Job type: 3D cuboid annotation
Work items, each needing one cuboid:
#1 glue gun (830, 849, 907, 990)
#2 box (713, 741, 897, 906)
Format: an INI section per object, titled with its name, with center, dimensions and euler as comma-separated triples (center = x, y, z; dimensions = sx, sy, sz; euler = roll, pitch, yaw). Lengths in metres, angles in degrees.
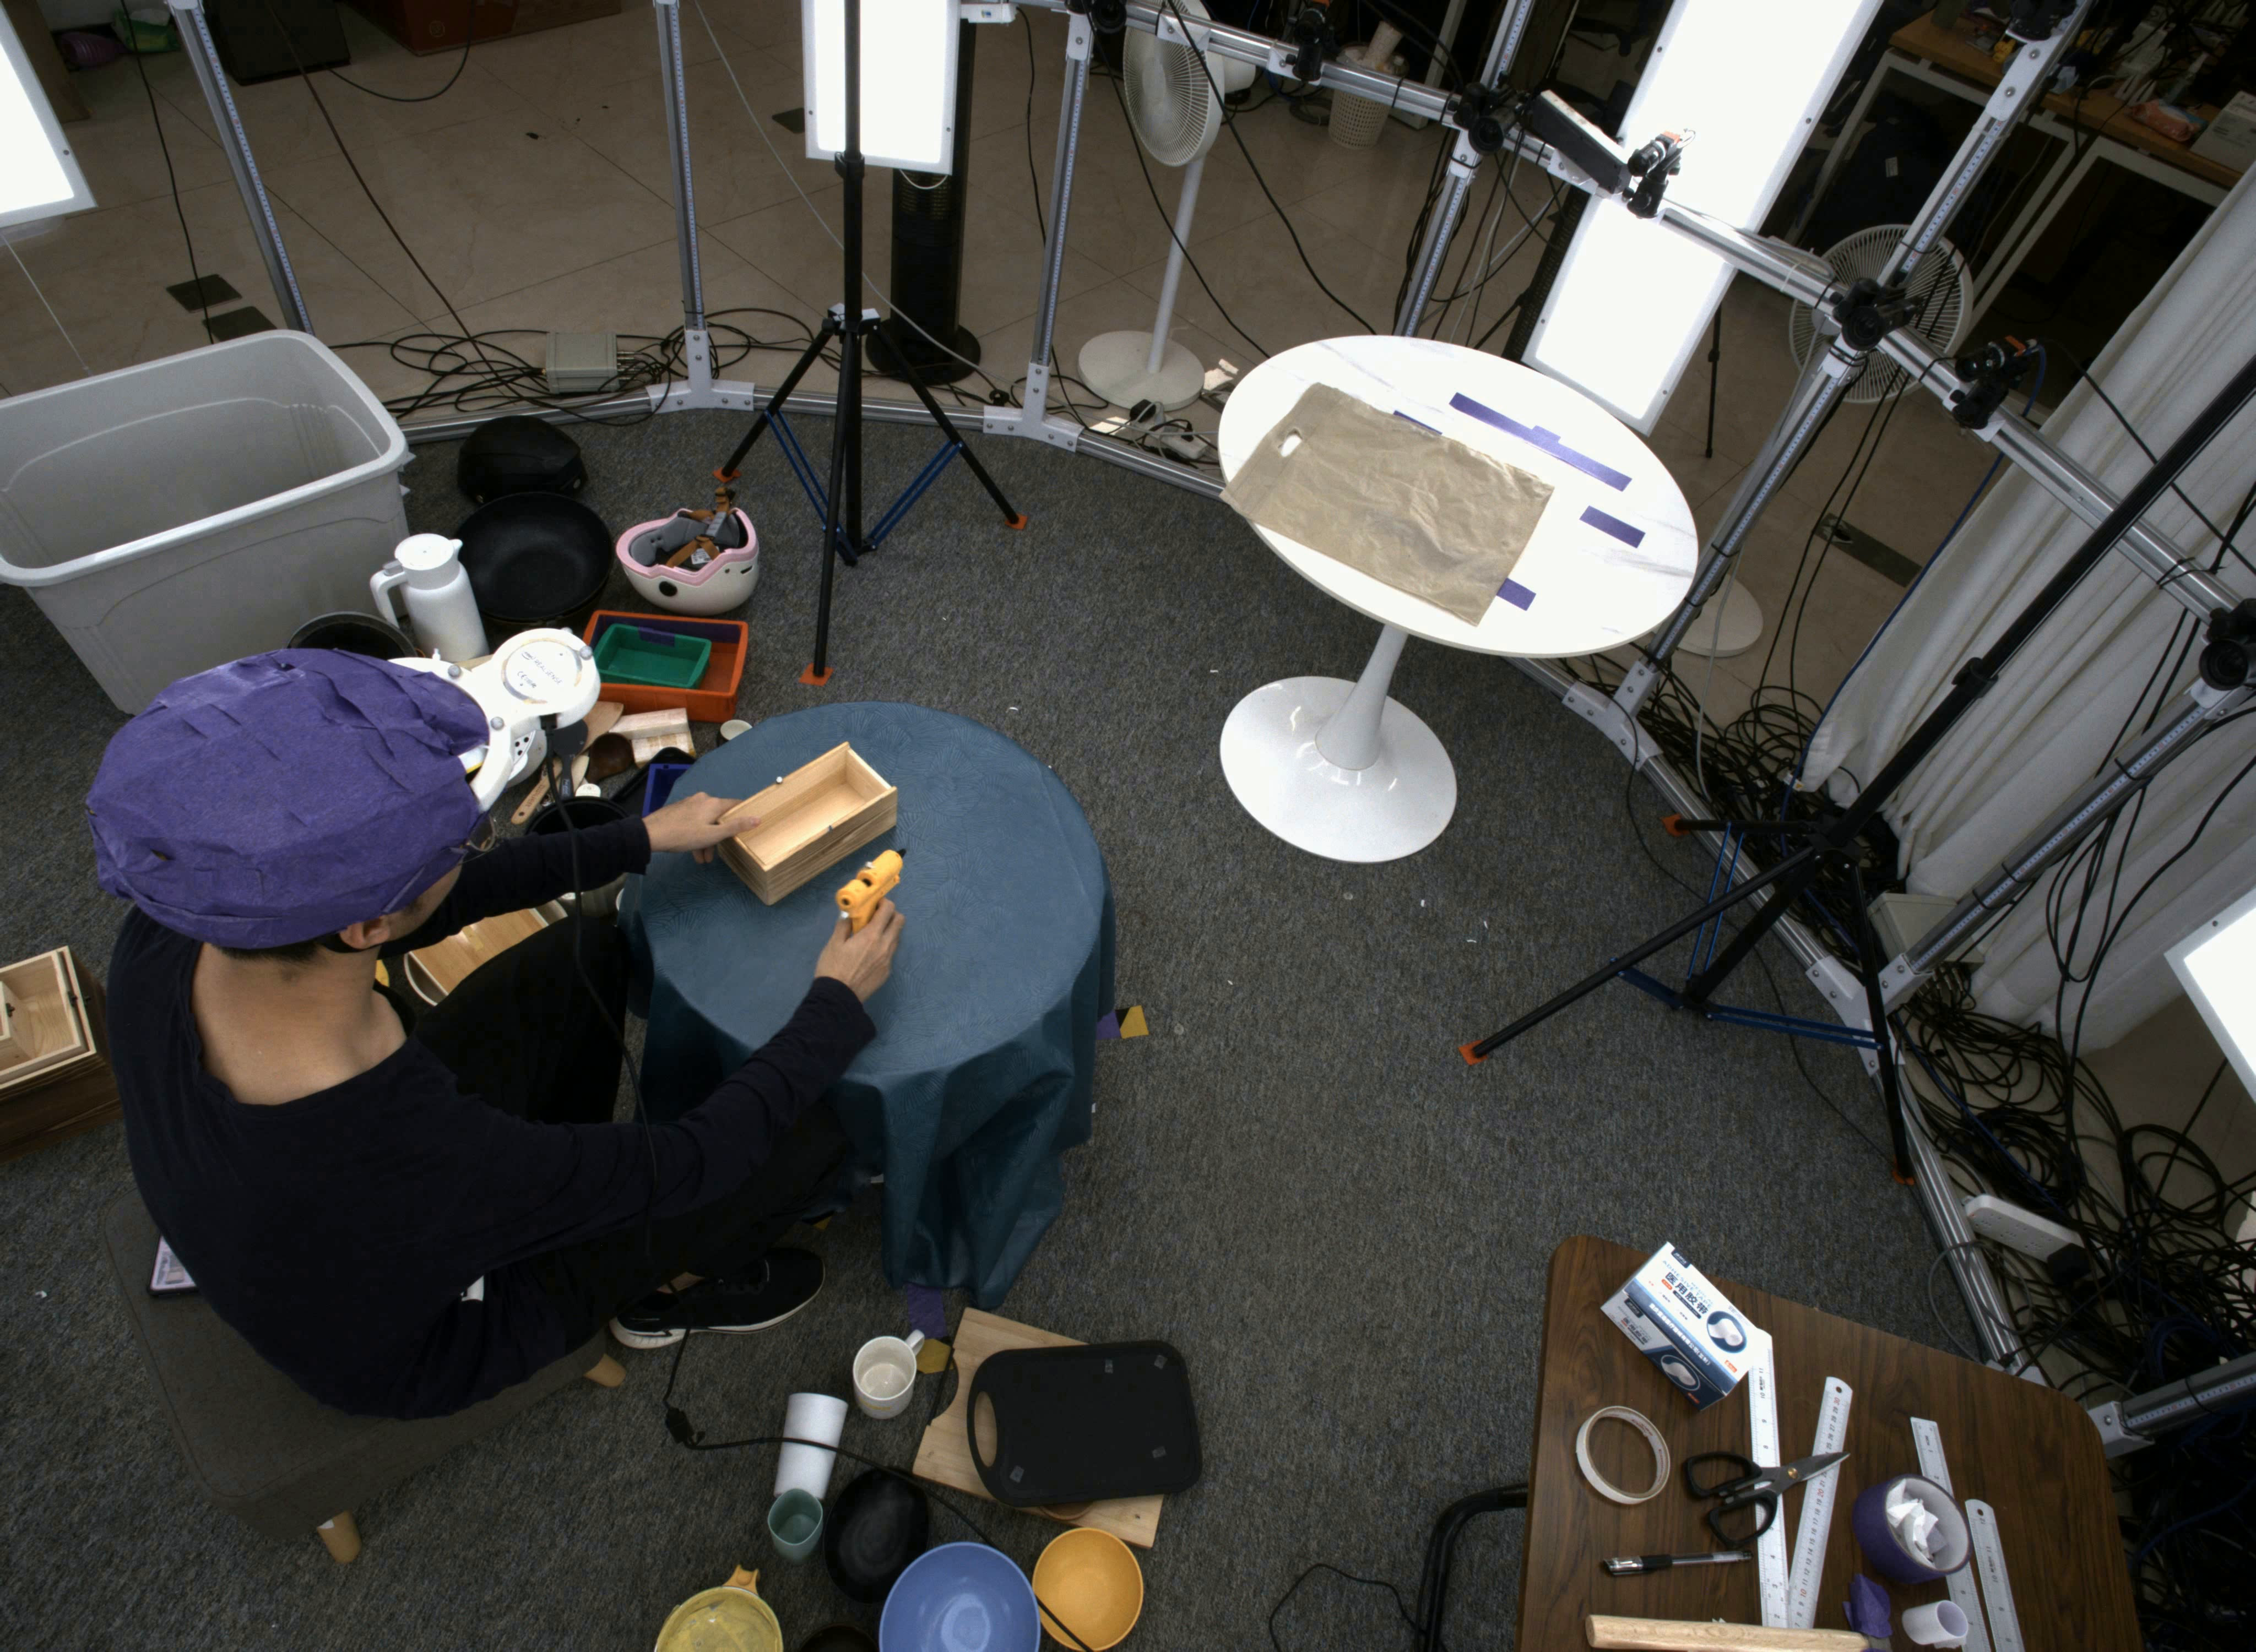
[glue gun]
center = -0.293, 0.099, 1.566
dimensions = 0.030, 0.138, 0.150
euler = 2, 30, 23
[box]
center = -0.414, -0.006, 1.675
dimensions = 0.105, 0.082, 0.212
euler = 42, 55, 18
